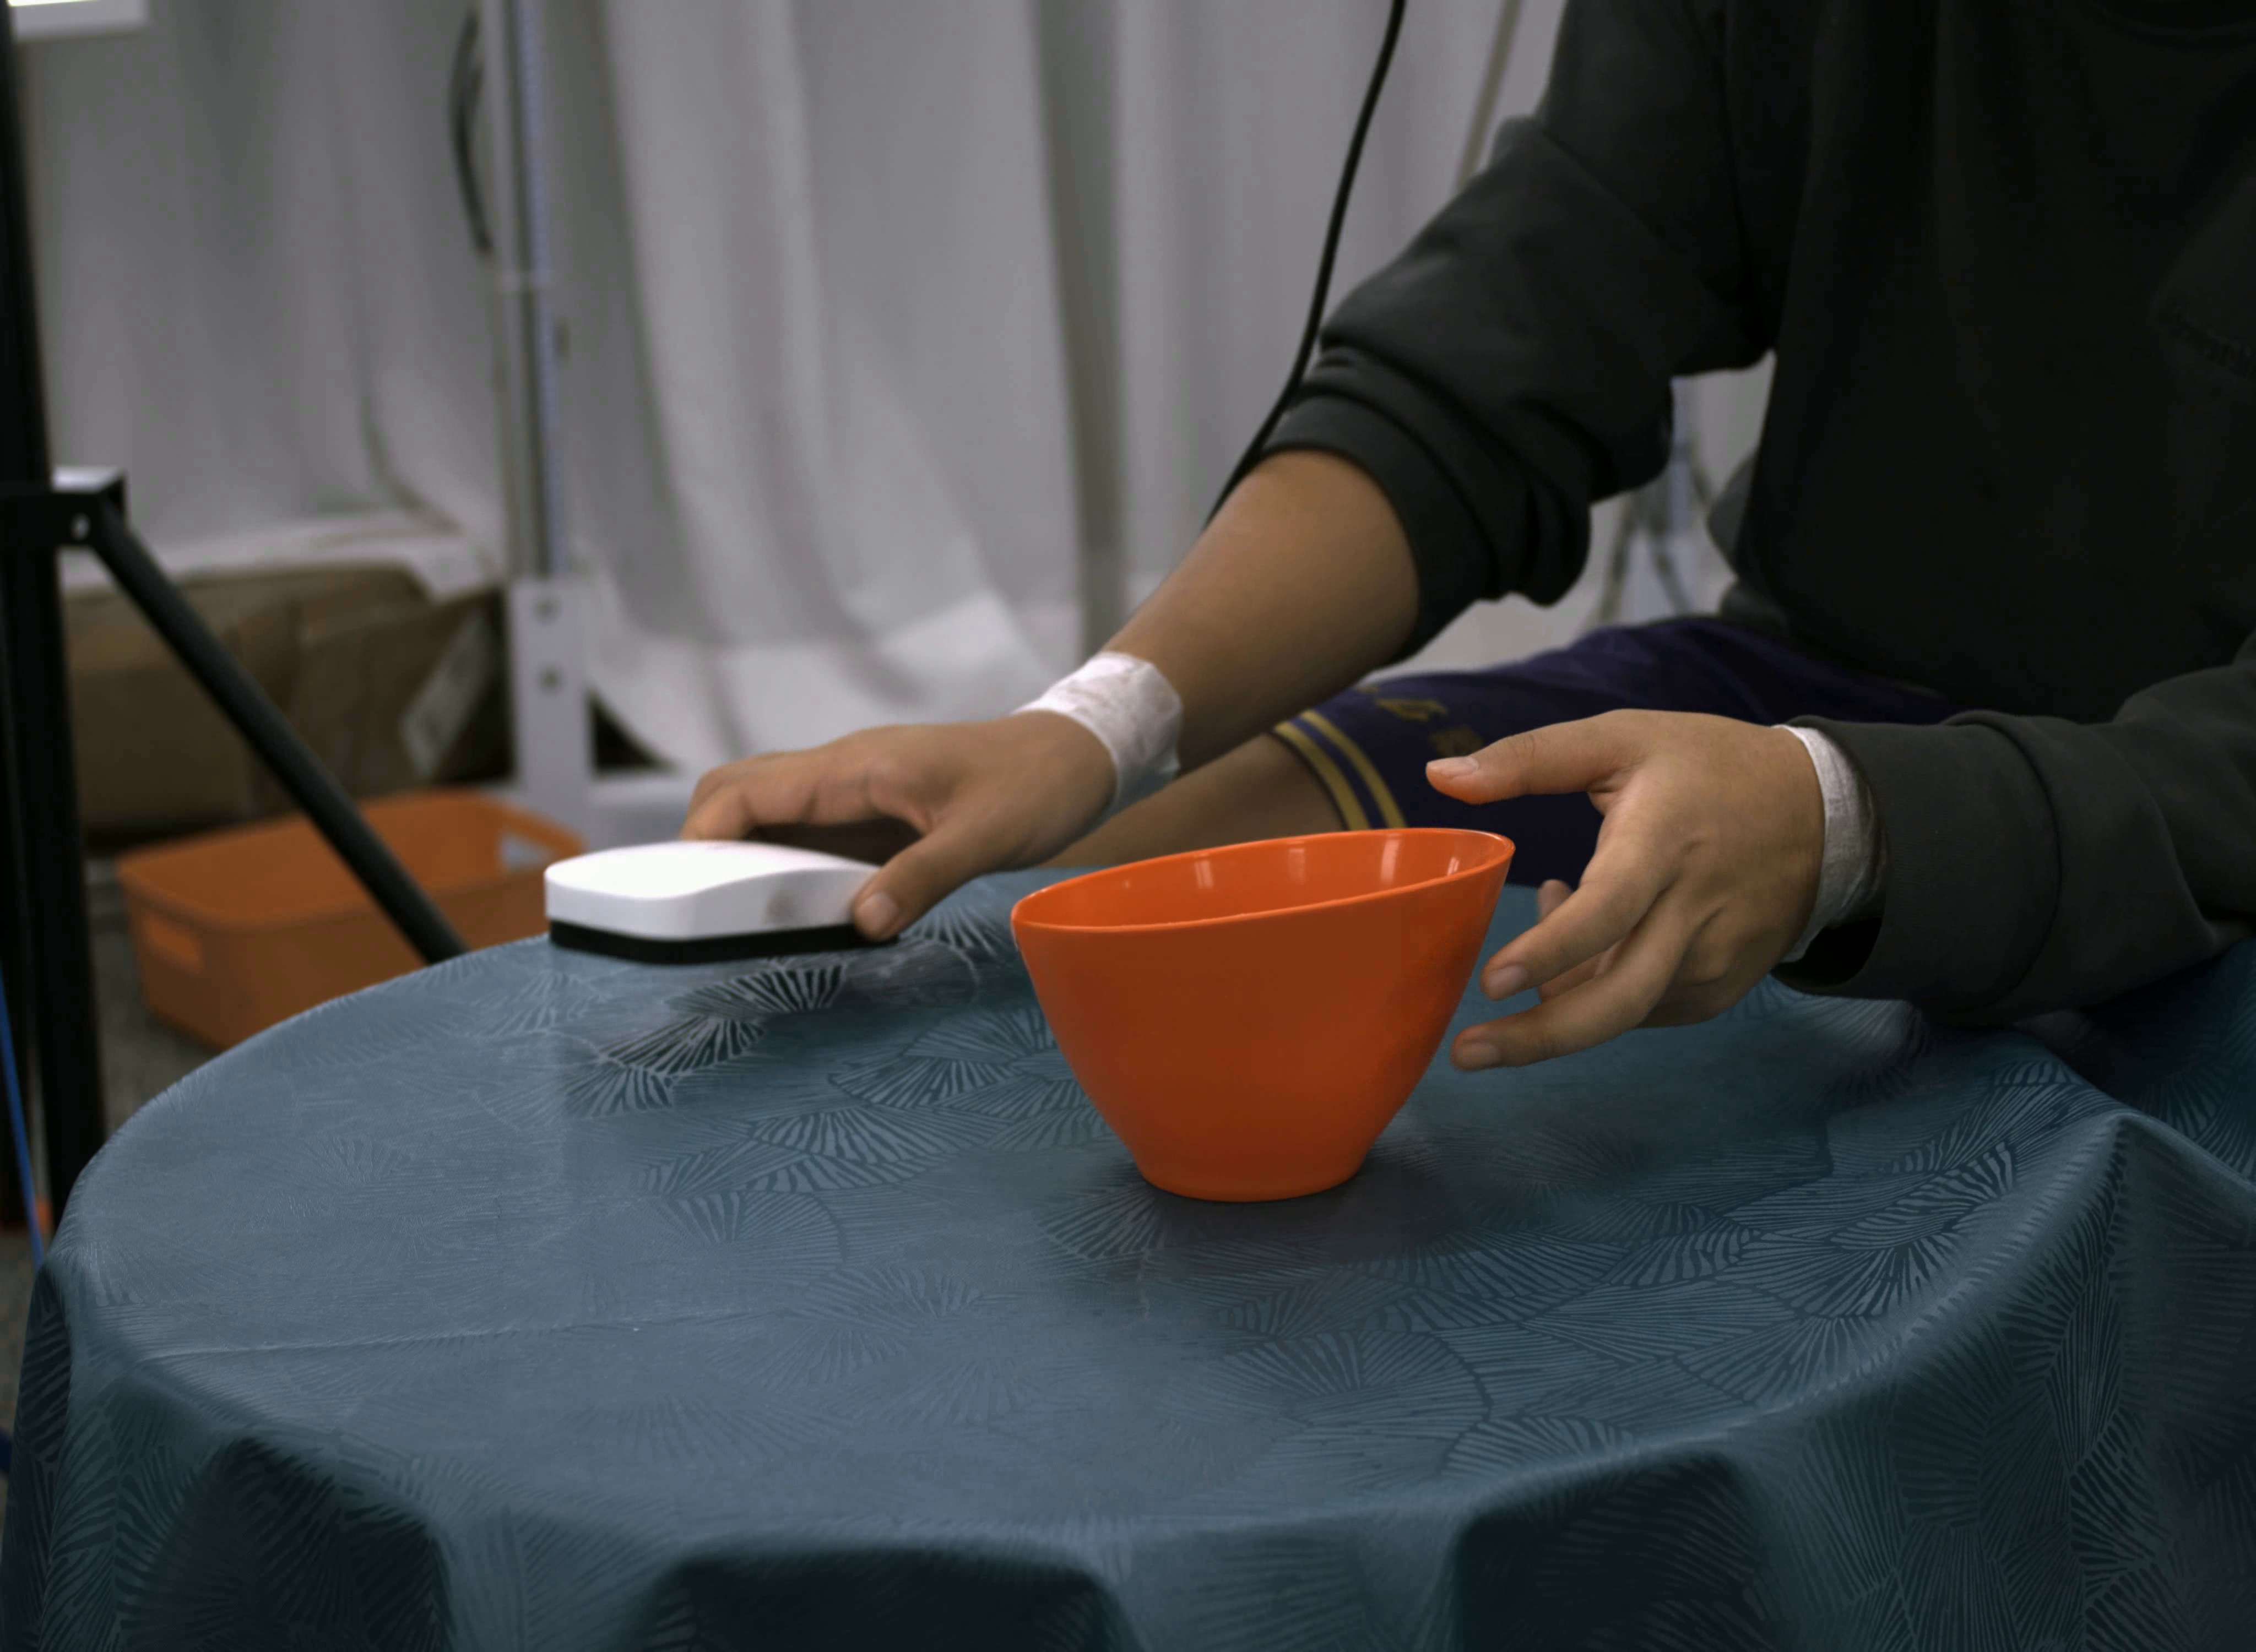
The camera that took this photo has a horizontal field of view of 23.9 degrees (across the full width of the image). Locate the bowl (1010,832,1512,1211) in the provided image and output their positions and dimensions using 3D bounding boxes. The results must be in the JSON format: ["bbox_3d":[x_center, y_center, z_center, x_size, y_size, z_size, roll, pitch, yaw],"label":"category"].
[{"bbox_3d":[0.040,0.056,1.555,0.147,0.104,0.149,-3,15,-1],"label":"bowl"}]

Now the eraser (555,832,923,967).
[{"bbox_3d":[-0.124,0.021,1.727,0.065,0.034,0.128,10,10,39],"label":"eraser"}]
